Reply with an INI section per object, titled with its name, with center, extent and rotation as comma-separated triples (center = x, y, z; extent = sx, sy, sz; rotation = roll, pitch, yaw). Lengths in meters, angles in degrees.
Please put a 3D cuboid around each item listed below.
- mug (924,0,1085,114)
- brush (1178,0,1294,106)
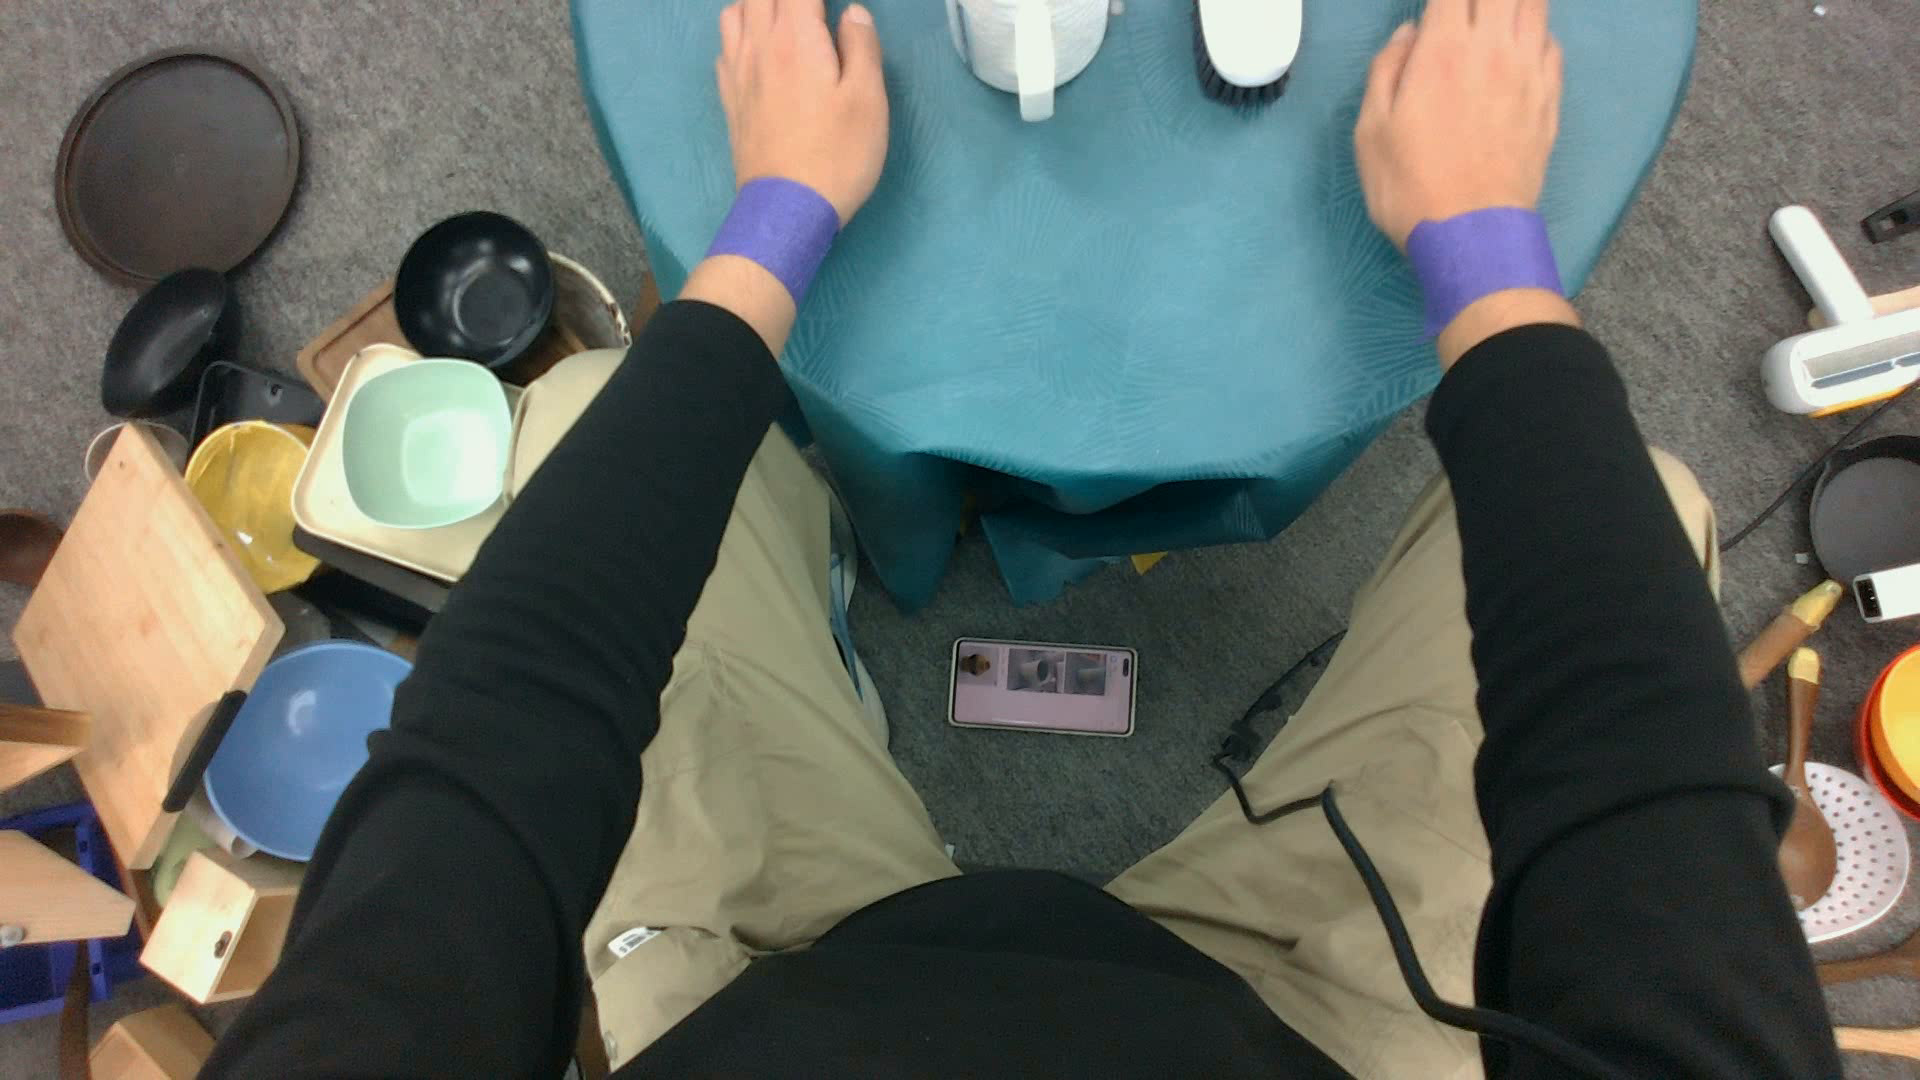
[mug]
center = 0.023, -0.270, 0.684
extent = 0.085, 0.102, 0.118
rotation = -6, 82, 2
[brush]
center = 0.139, -0.280, 0.693
extent = 0.050, 0.072, 0.099
rotation = -15, 76, 7
